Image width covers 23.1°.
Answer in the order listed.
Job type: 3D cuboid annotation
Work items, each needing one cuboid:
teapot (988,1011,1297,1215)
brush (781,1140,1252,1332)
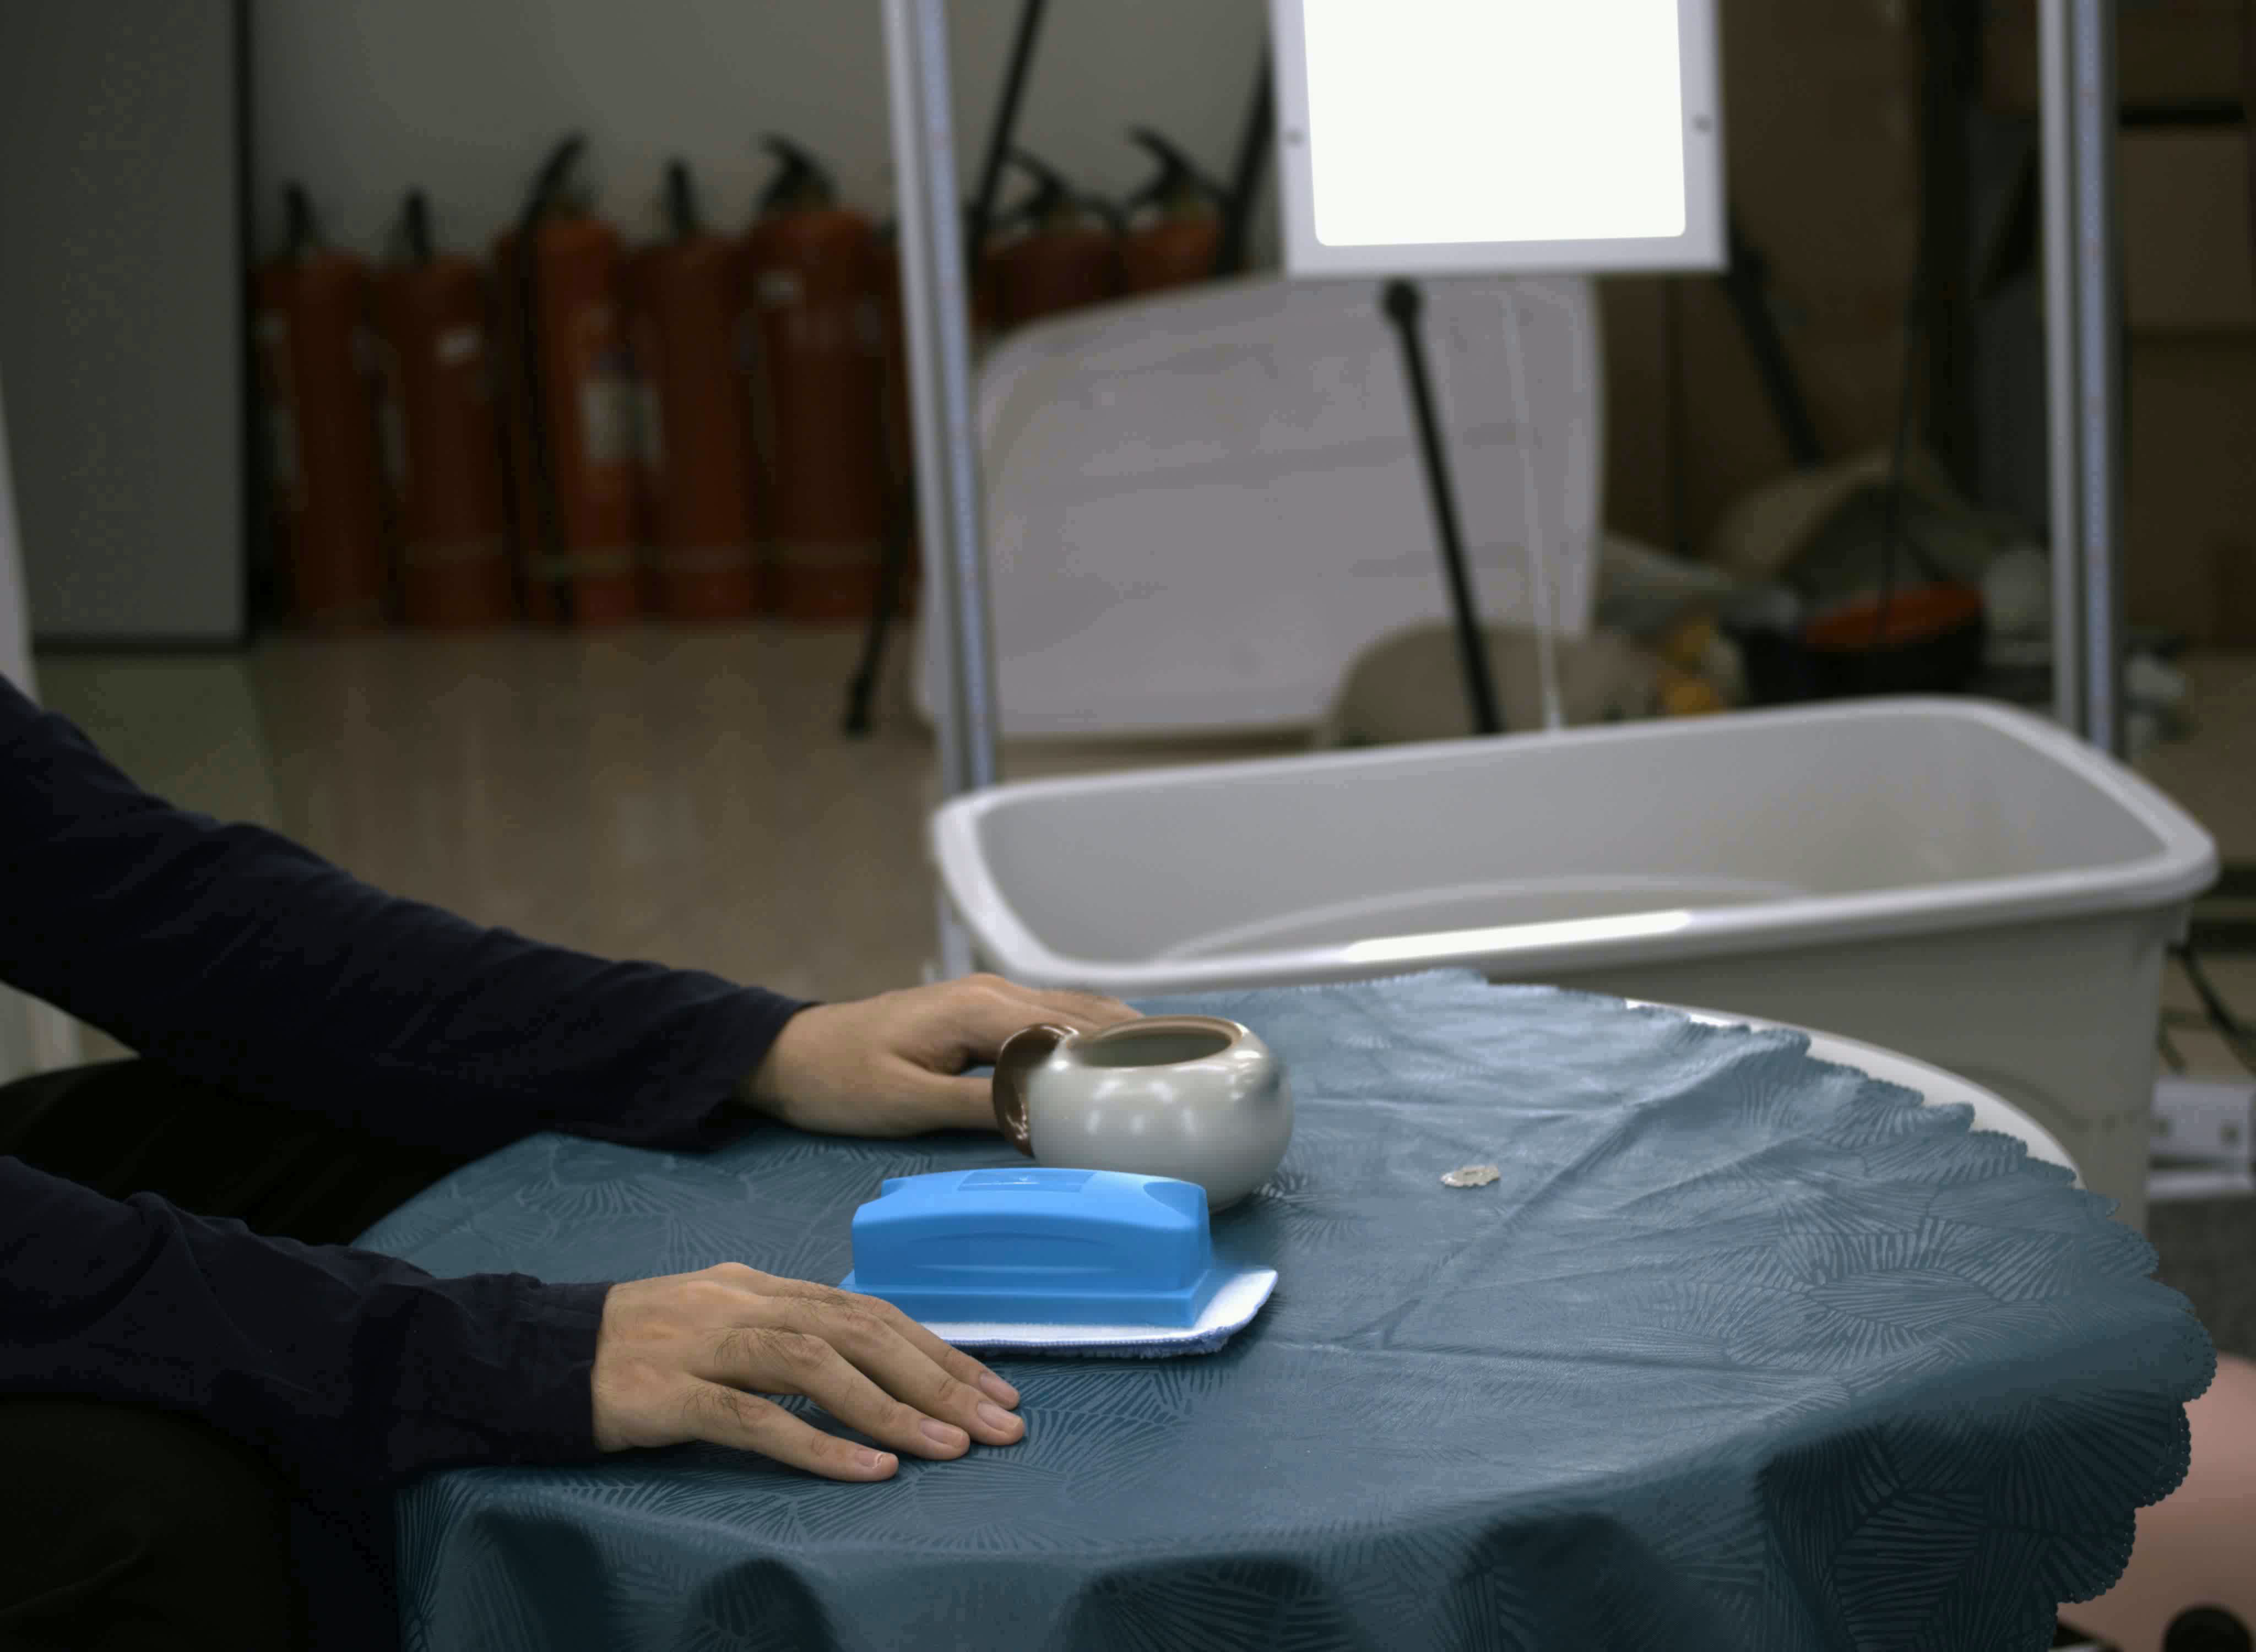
[{"bbox_3d":[0.004,0.098,1.888,0.130,0.060,0.089,7,20,36],"label":"teapot"},{"bbox_3d":[-0.035,0.131,1.763,0.146,0.056,0.082,3,12,19],"label":"brush"}]
